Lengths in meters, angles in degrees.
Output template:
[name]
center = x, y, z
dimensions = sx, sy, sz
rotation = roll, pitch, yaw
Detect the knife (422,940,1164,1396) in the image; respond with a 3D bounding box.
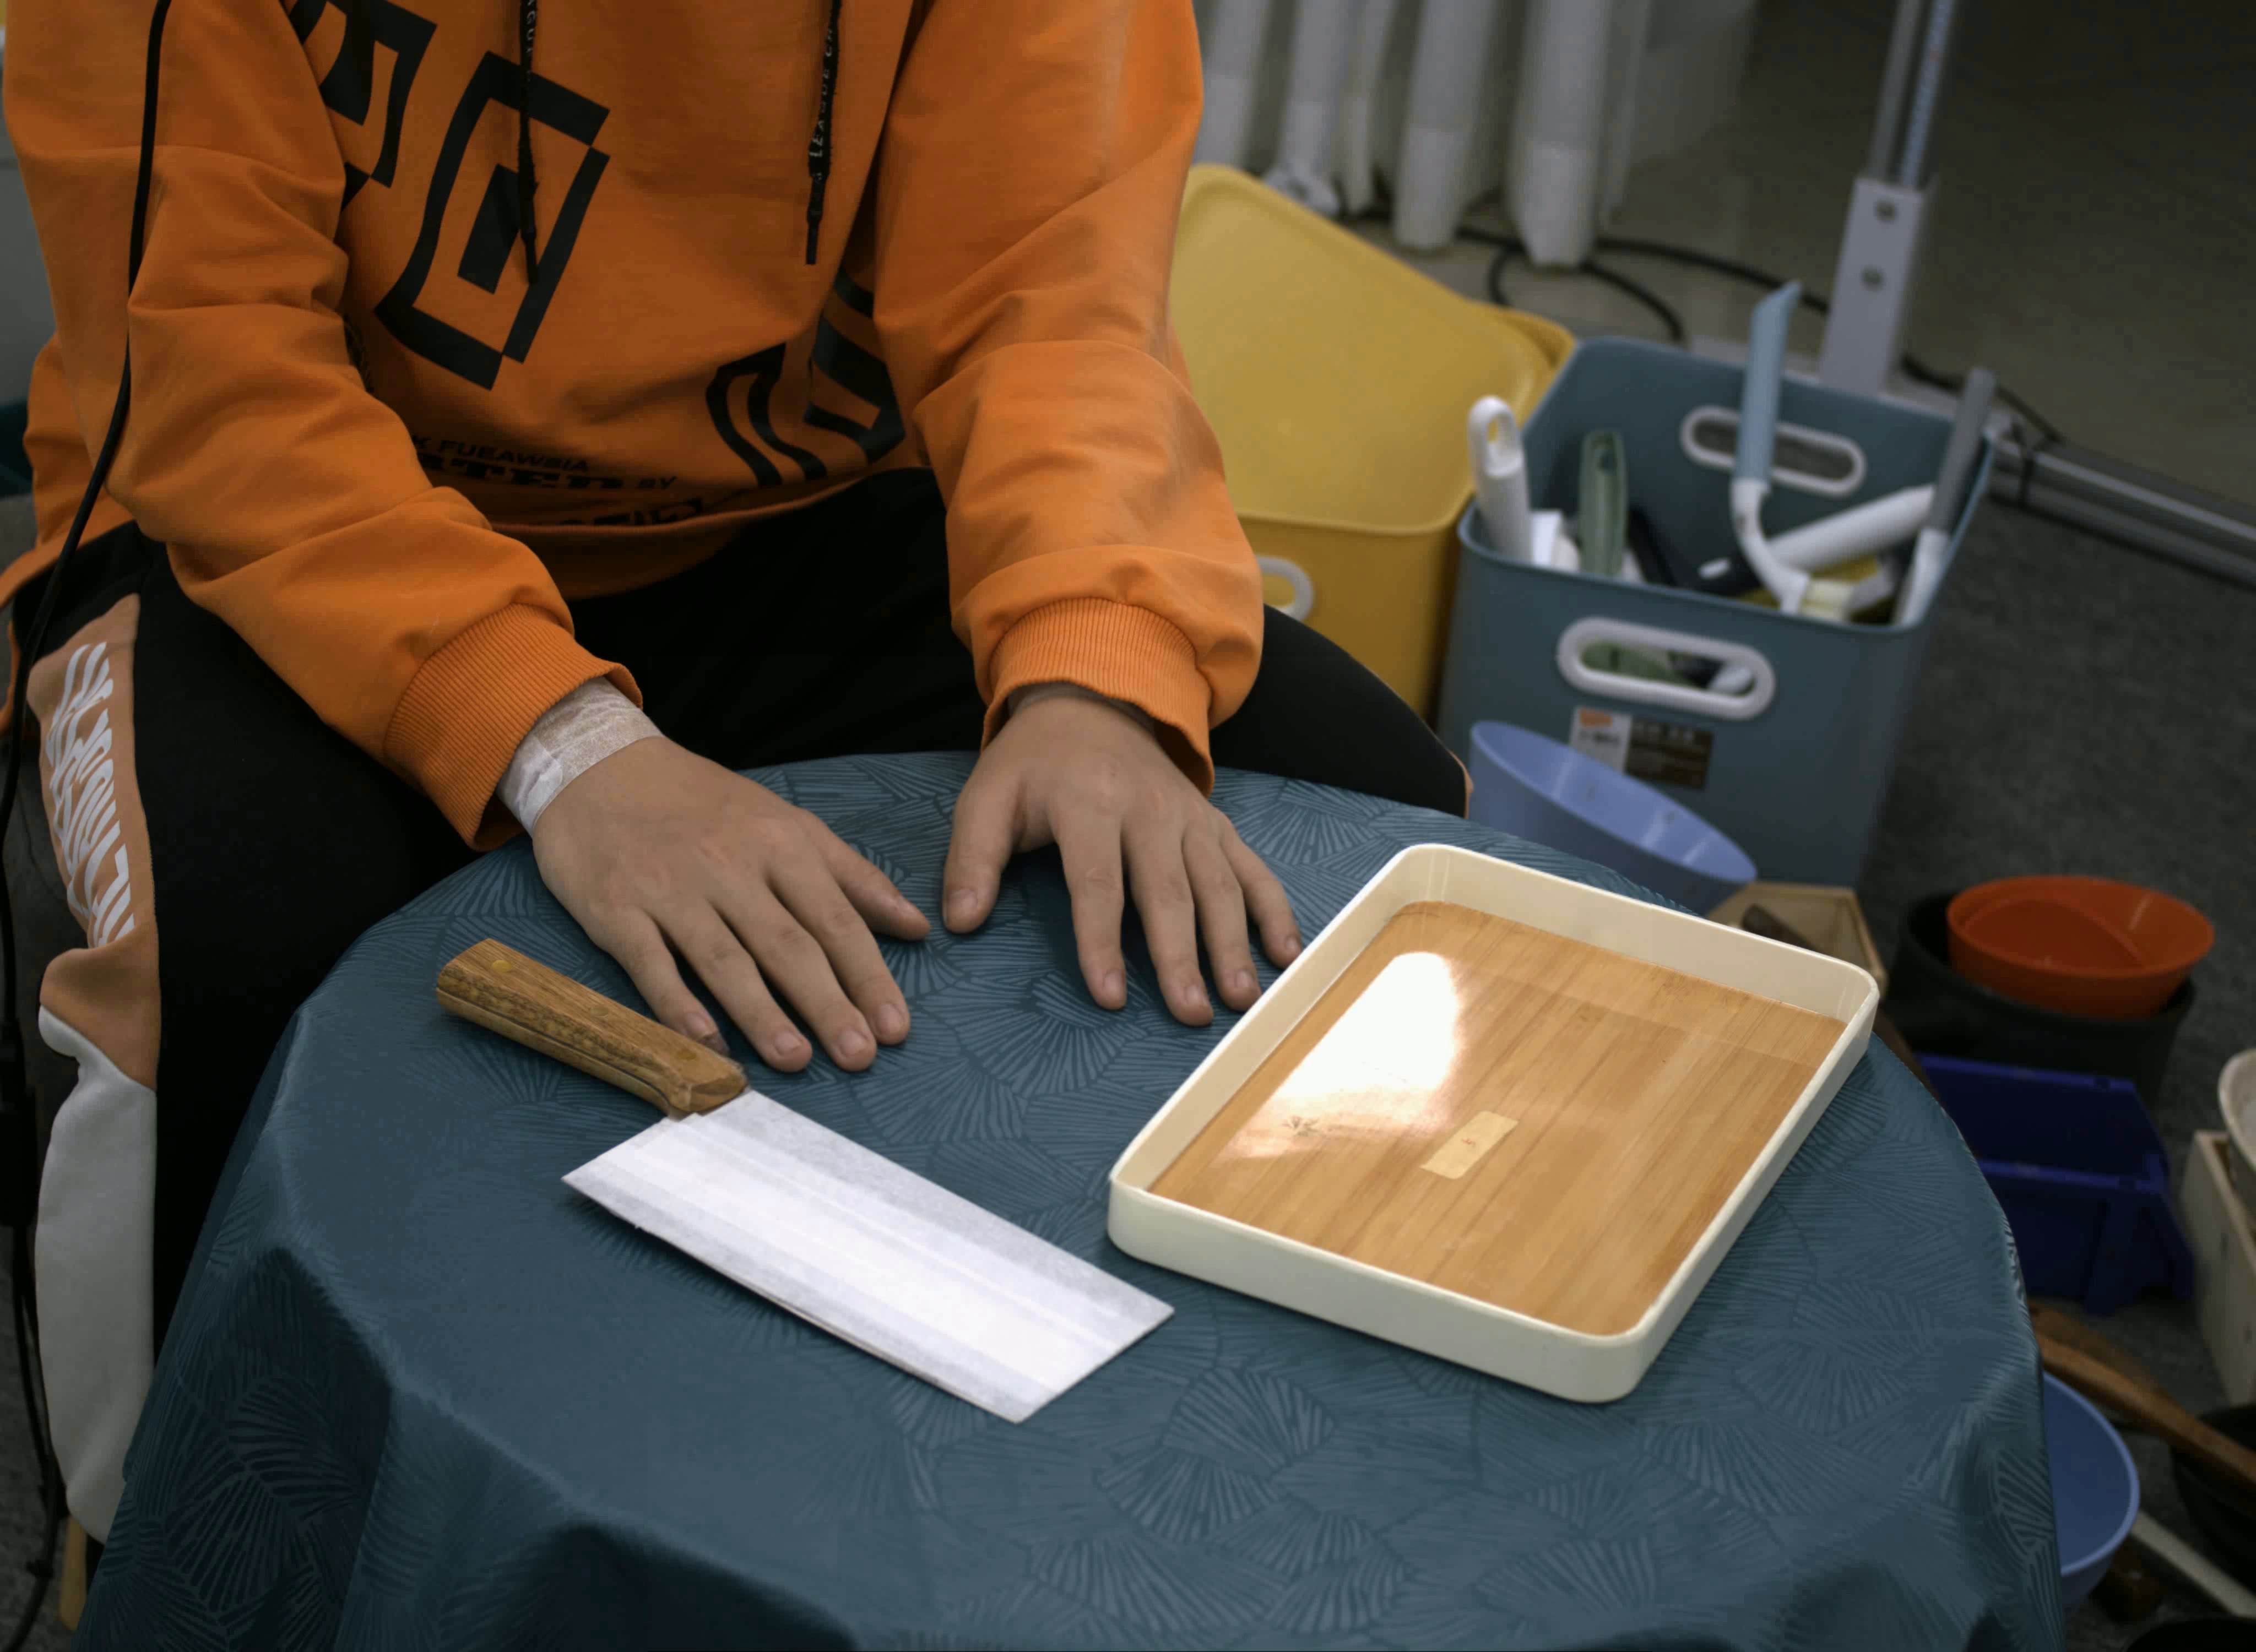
[knife]
center = -0.131, 0.115, 1.773
dimensions = 0.307, 0.021, 0.092
rotation = 25, 34, 28

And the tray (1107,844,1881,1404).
[tray]
center = 0.133, 0.097, 1.854
dimensions = 0.192, 0.027, 0.300
rotation = 17, 29, 19
